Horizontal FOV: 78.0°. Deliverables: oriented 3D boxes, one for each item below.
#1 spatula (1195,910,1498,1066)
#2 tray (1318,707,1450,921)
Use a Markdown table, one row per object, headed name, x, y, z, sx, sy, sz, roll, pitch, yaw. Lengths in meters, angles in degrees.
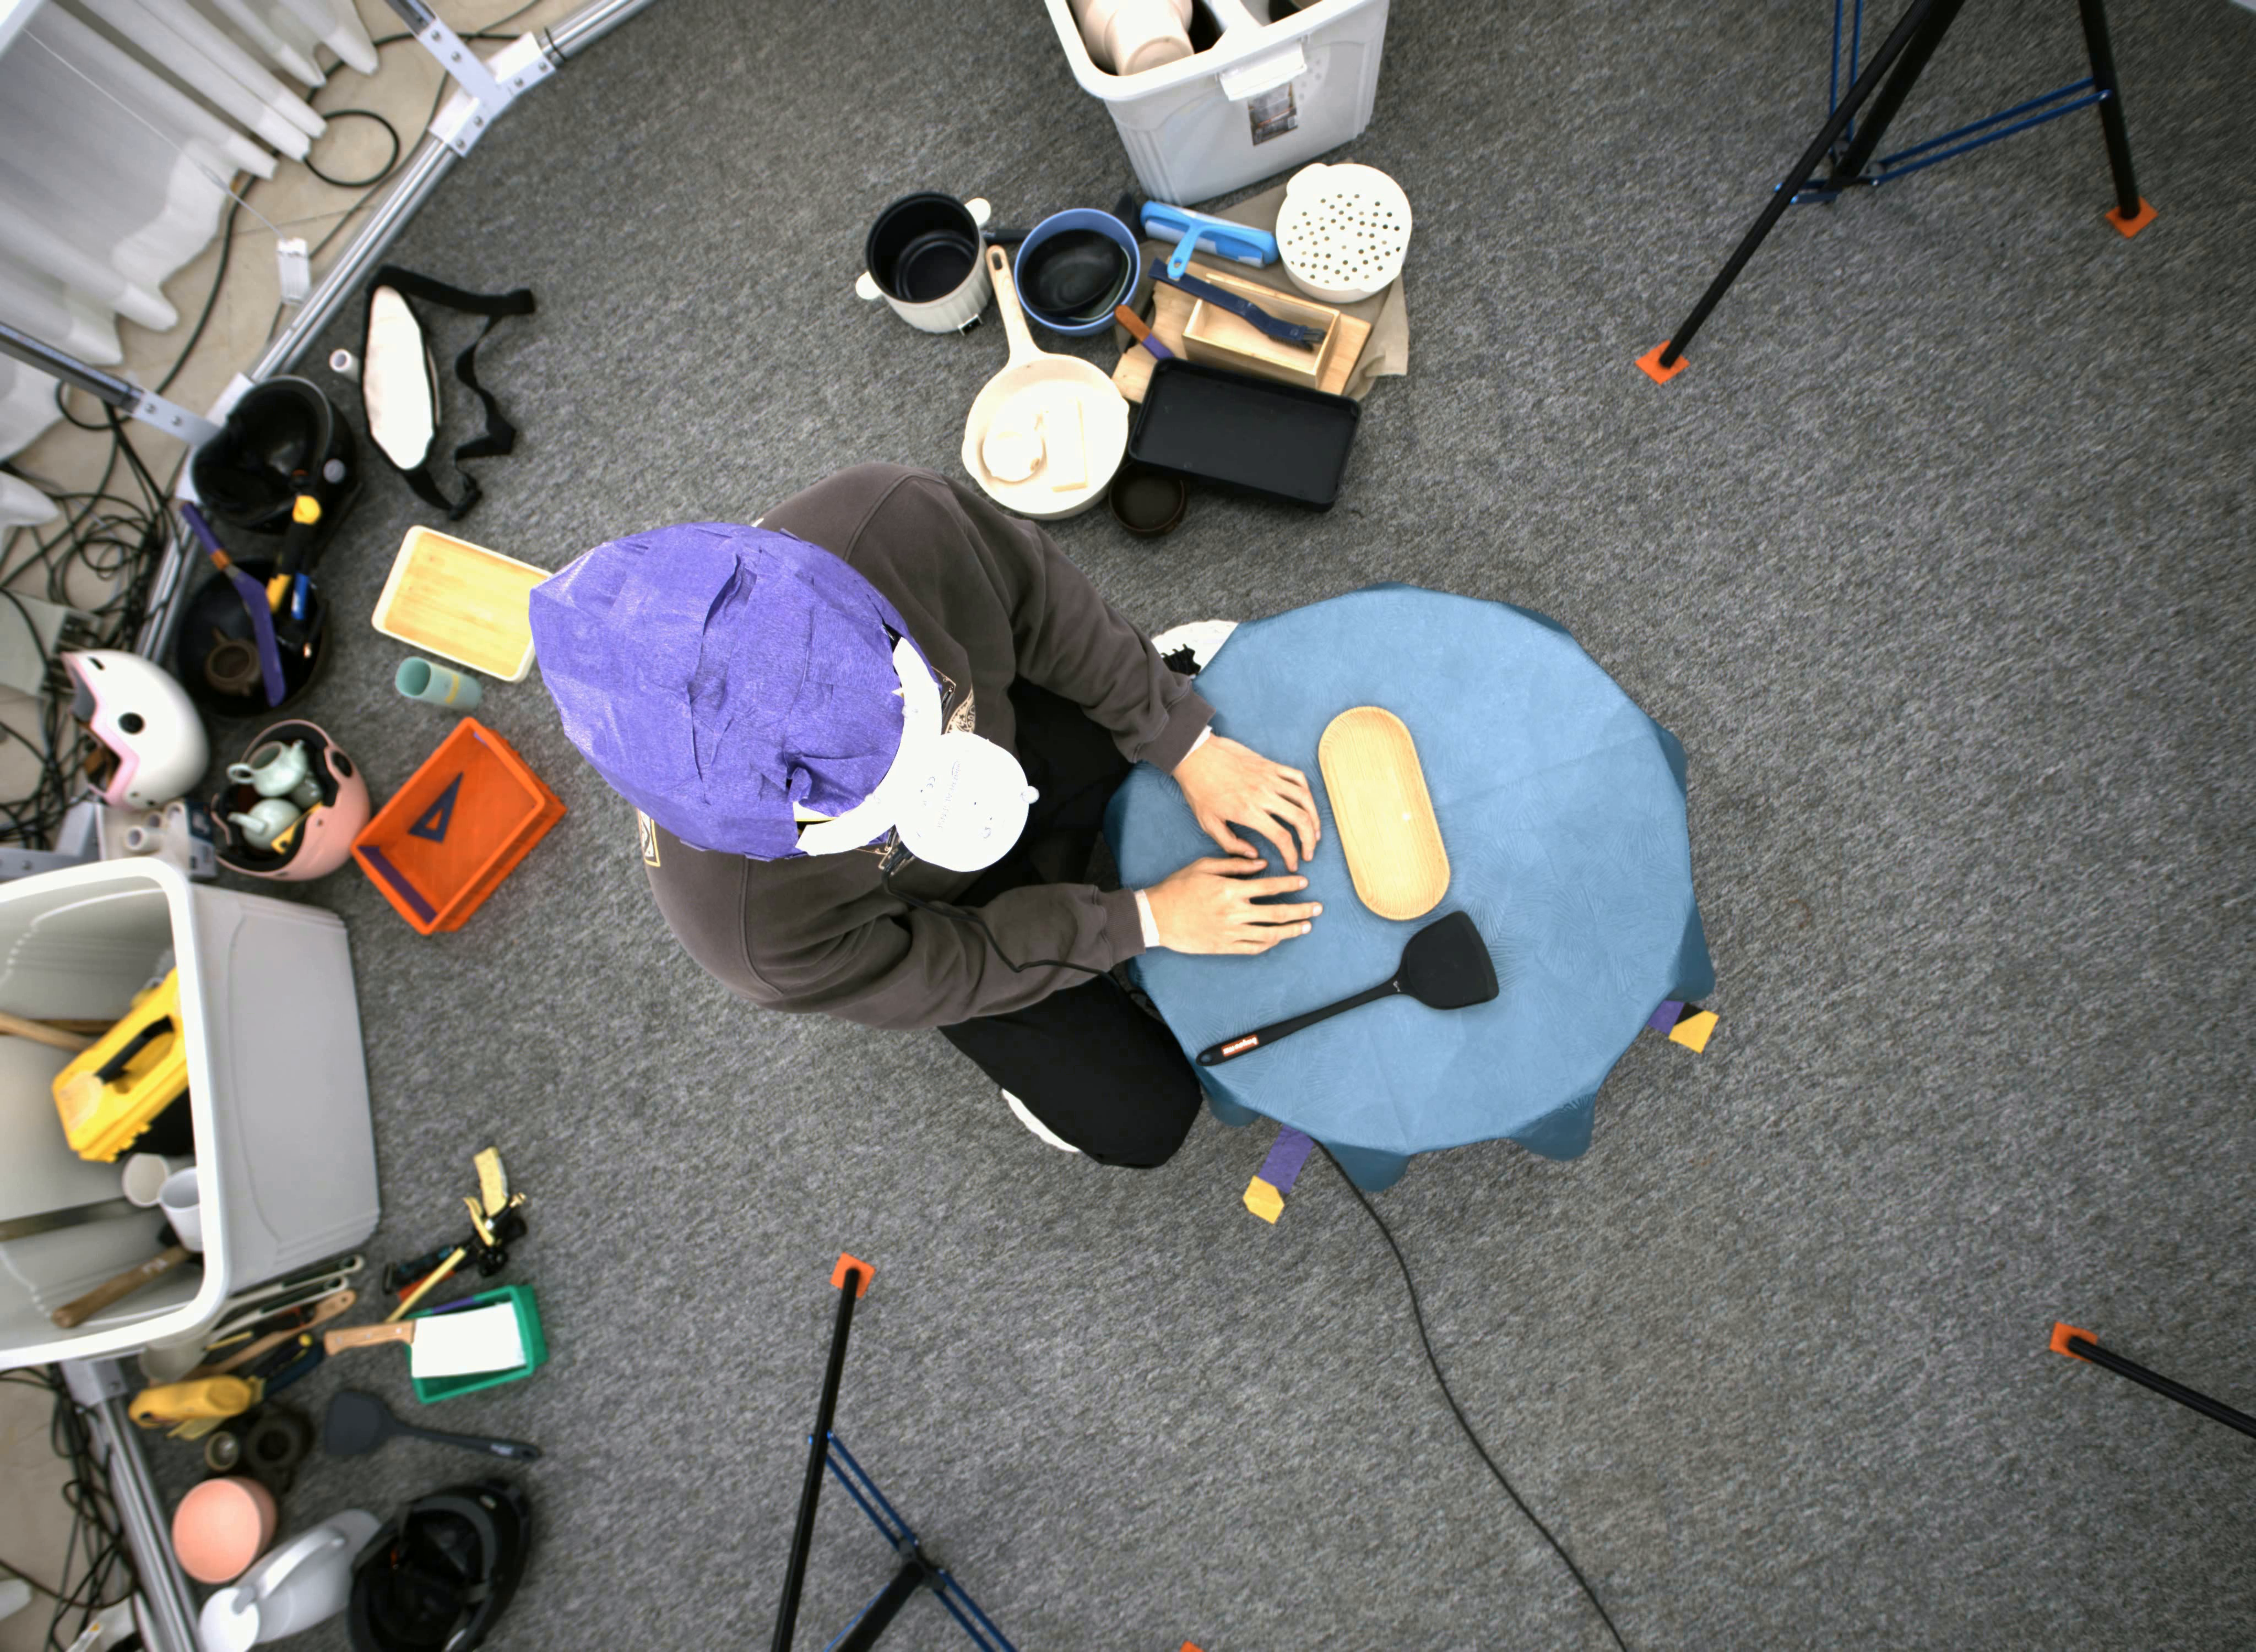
| name | x | y | z | sx | sy | sz | roll | pitch | yaw |
| --- | --- | --- | --- | --- | --- | --- | --- | --- | --- |
| spatula | 0.219 | 0.187 | 1.443 | 0.328 | 0.040 | 0.099 | -23 | 82 | 9 |
| tray | 0.269 | -0.014 | 1.454 | 0.102 | 0.020 | 0.230 | -16 | 86 | 10 |
